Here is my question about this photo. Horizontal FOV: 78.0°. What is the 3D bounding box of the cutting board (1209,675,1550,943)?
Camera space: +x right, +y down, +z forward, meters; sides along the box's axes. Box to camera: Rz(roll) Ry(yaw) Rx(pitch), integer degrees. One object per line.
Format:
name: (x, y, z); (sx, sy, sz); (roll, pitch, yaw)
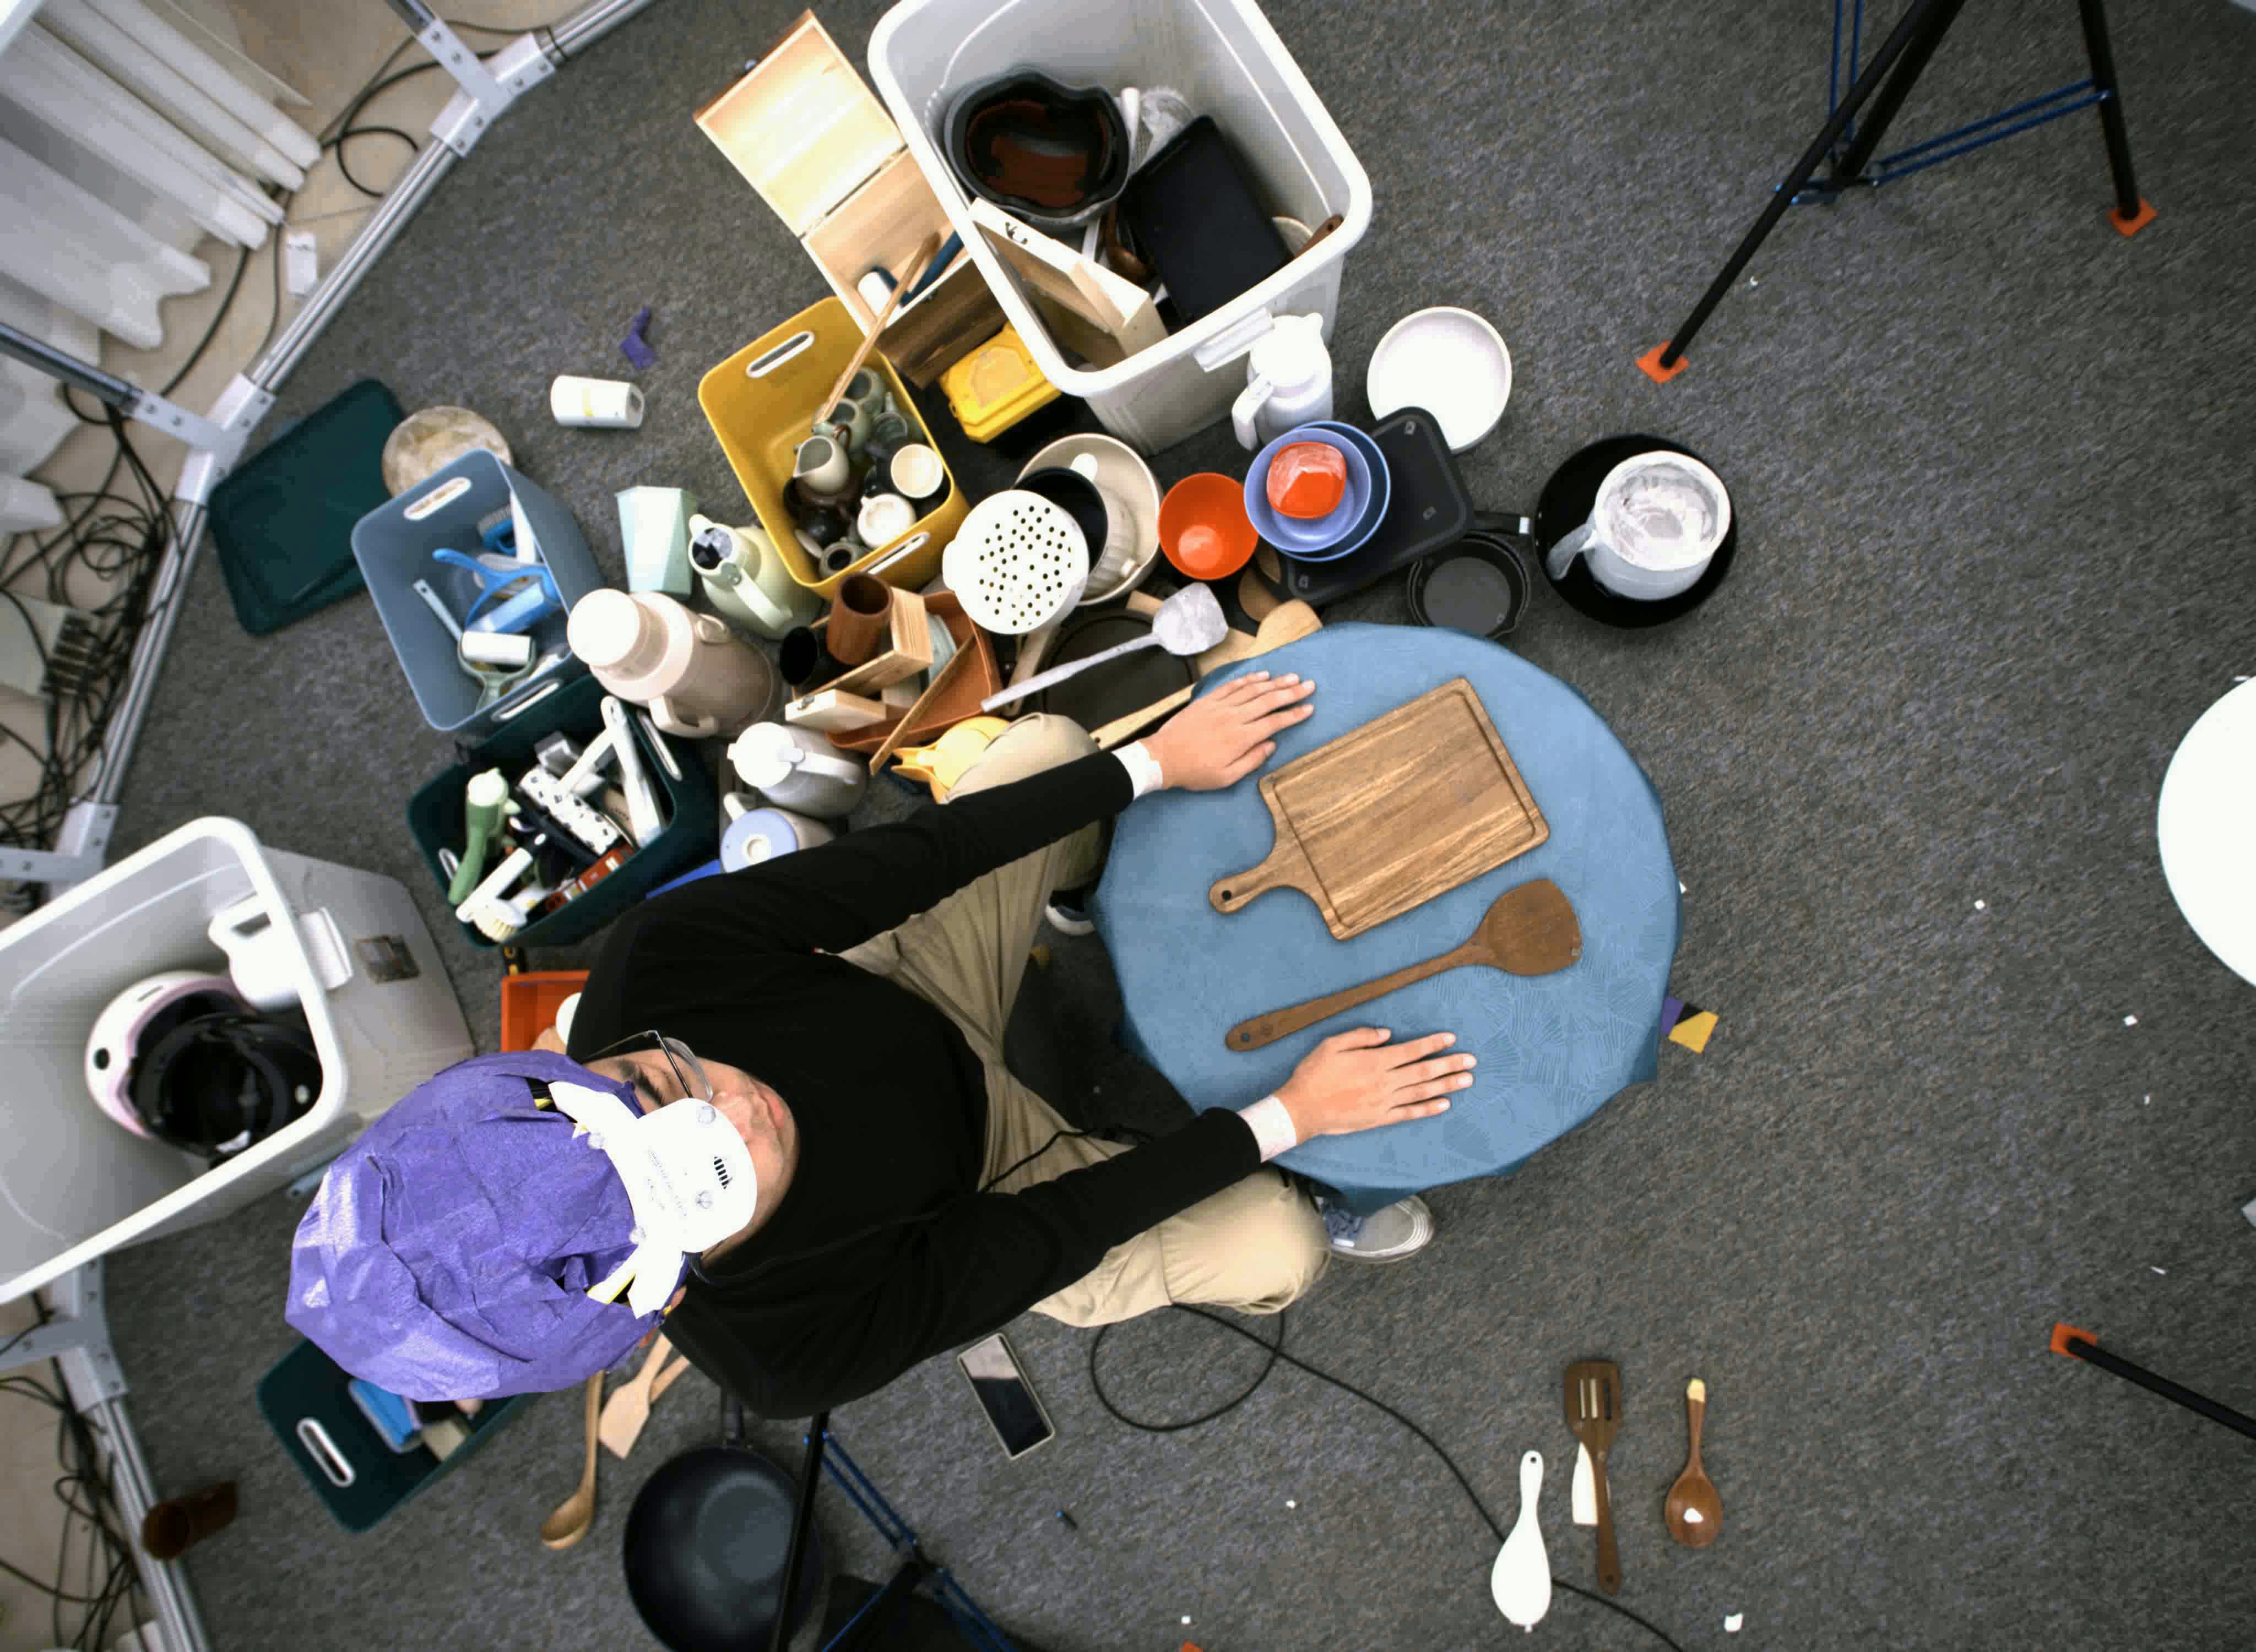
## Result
cutting board: (0.243, 0.003, 1.459); (0.354, 0.023, 0.200); (-28, 82, 8)

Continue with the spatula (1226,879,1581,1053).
spatula: (0.282, 0.161, 1.446); (0.388, 0.016, 0.095); (-22, 83, 9)
